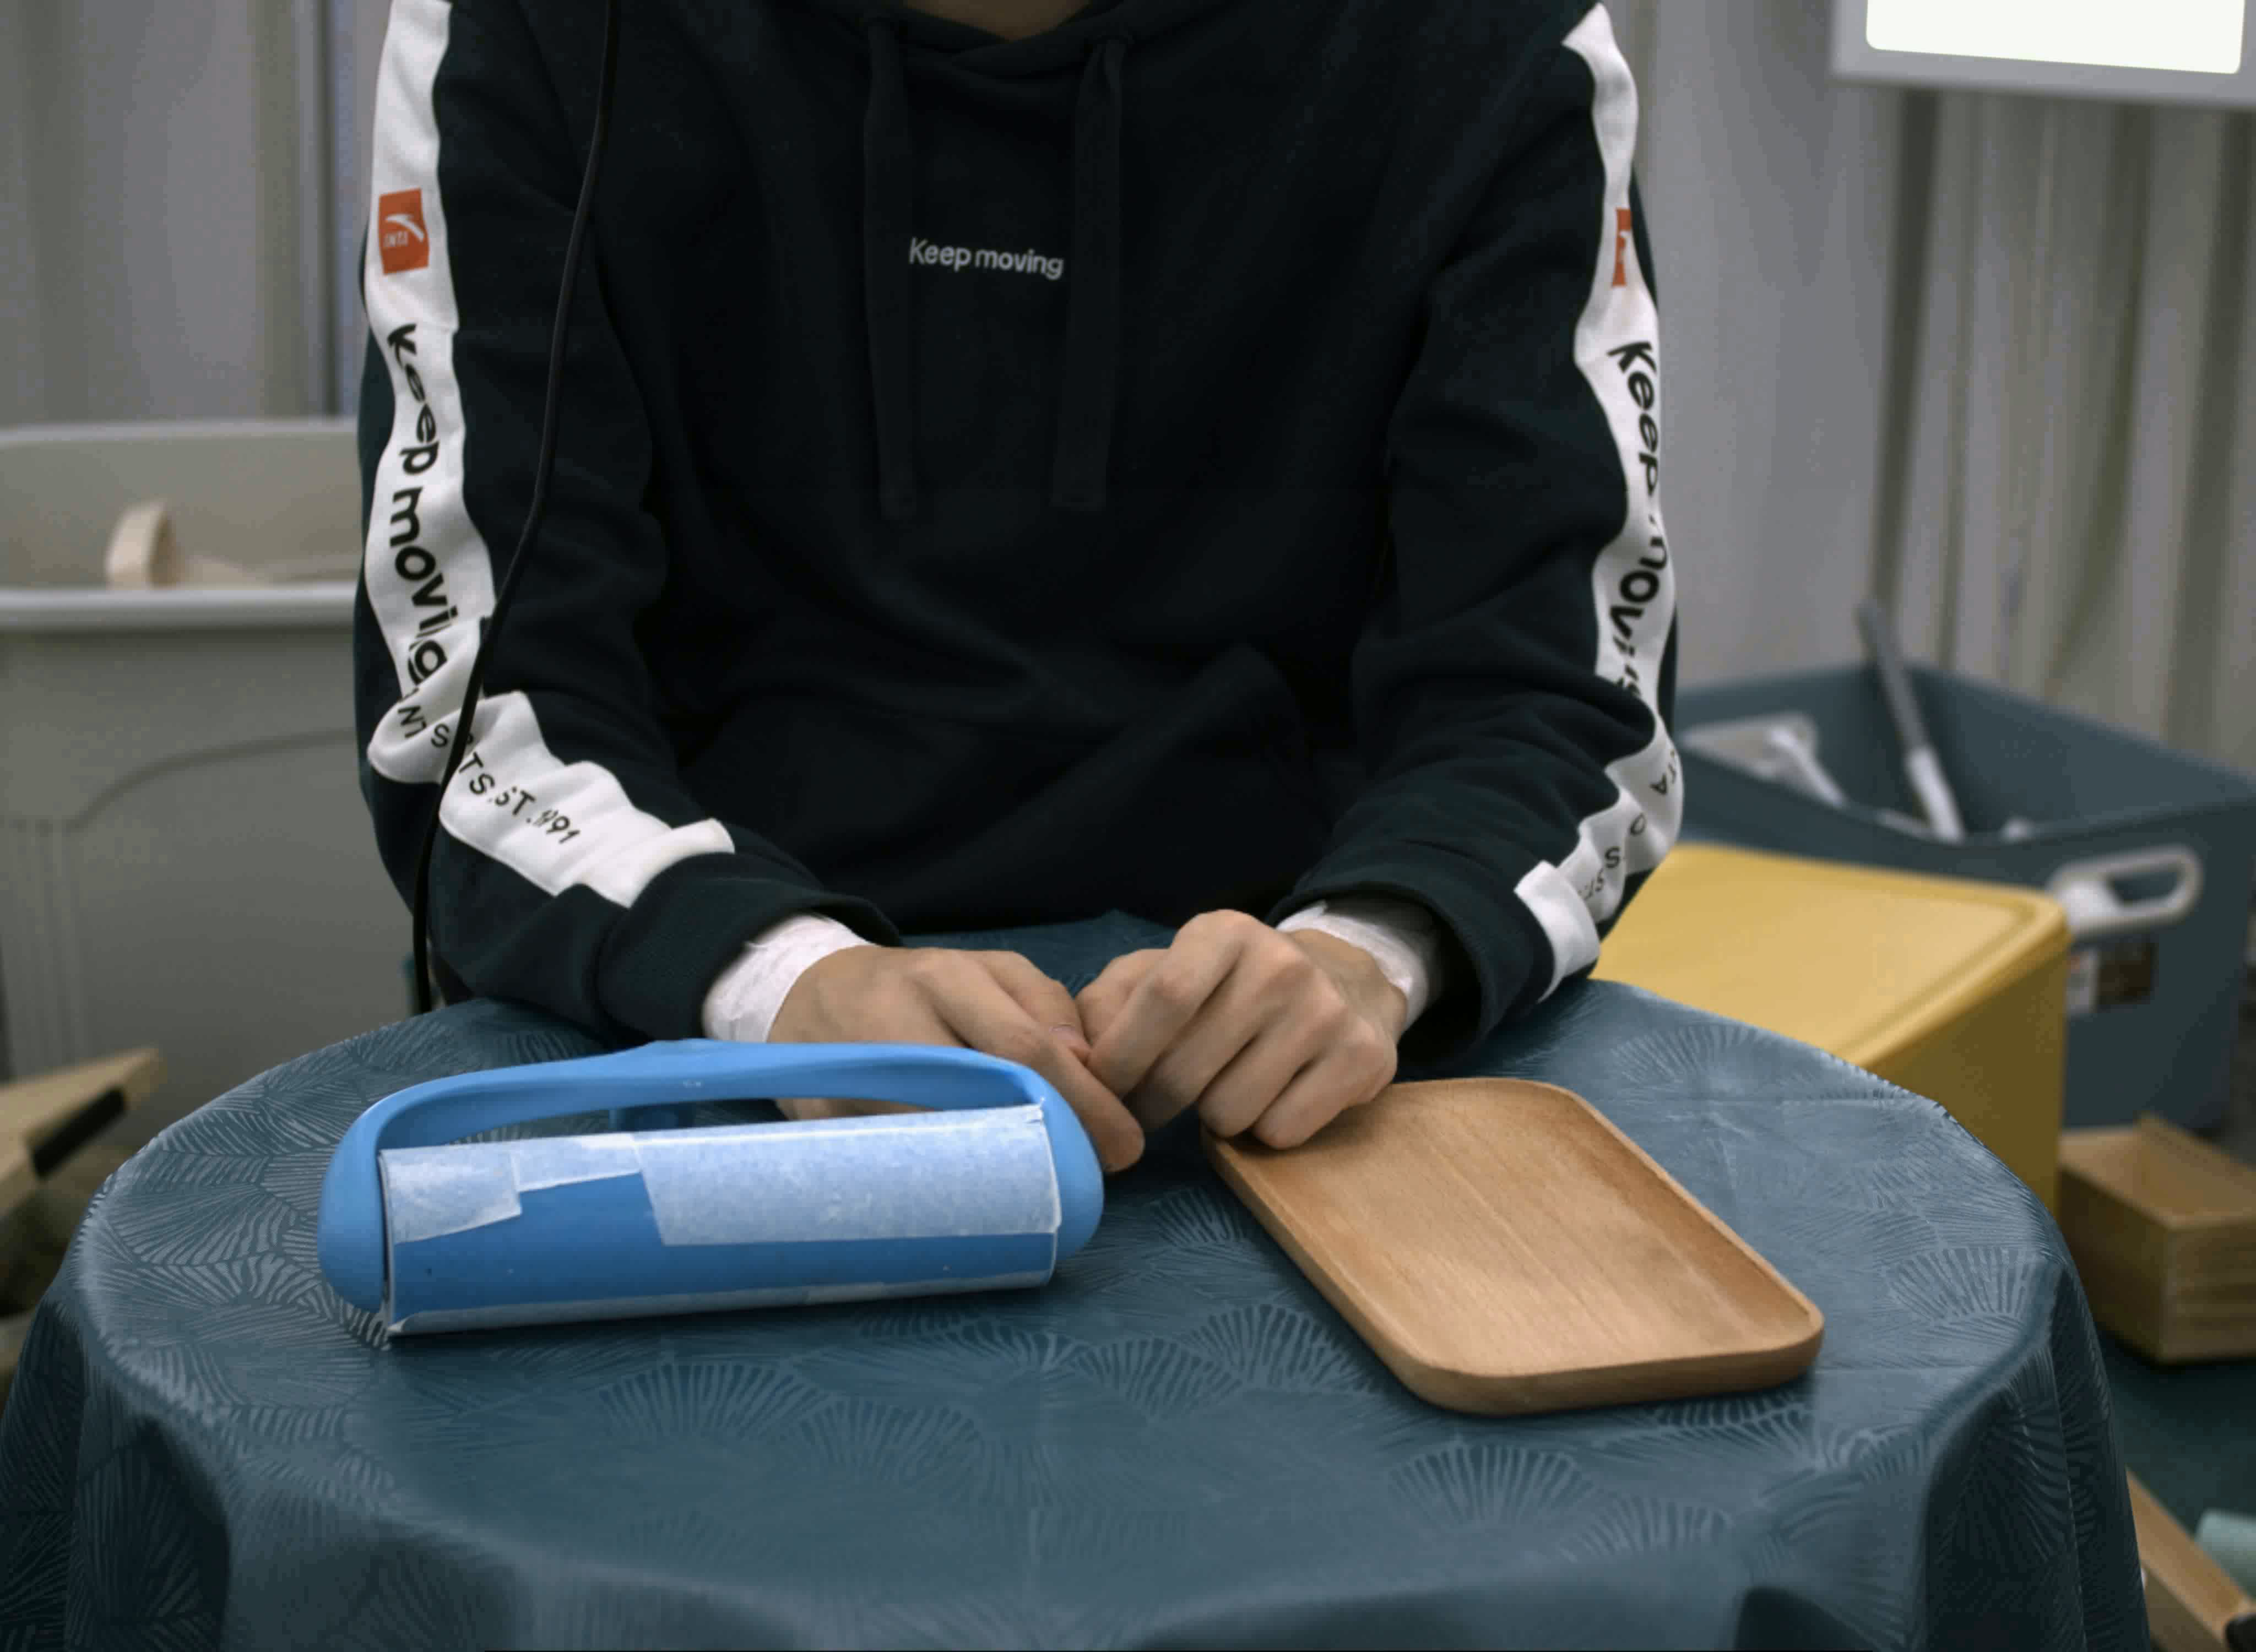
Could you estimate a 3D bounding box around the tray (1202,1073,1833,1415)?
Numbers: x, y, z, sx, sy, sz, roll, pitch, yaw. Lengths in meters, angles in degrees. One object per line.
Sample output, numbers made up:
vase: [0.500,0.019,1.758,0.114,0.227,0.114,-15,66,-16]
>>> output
tray: [0.110,0.120,1.561,0.131,0.023,0.248,-2,15,-15]

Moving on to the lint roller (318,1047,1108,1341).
lint roller: [-0.133,0.096,1.566,0.229,0.068,0.178,-5,17,-15]
